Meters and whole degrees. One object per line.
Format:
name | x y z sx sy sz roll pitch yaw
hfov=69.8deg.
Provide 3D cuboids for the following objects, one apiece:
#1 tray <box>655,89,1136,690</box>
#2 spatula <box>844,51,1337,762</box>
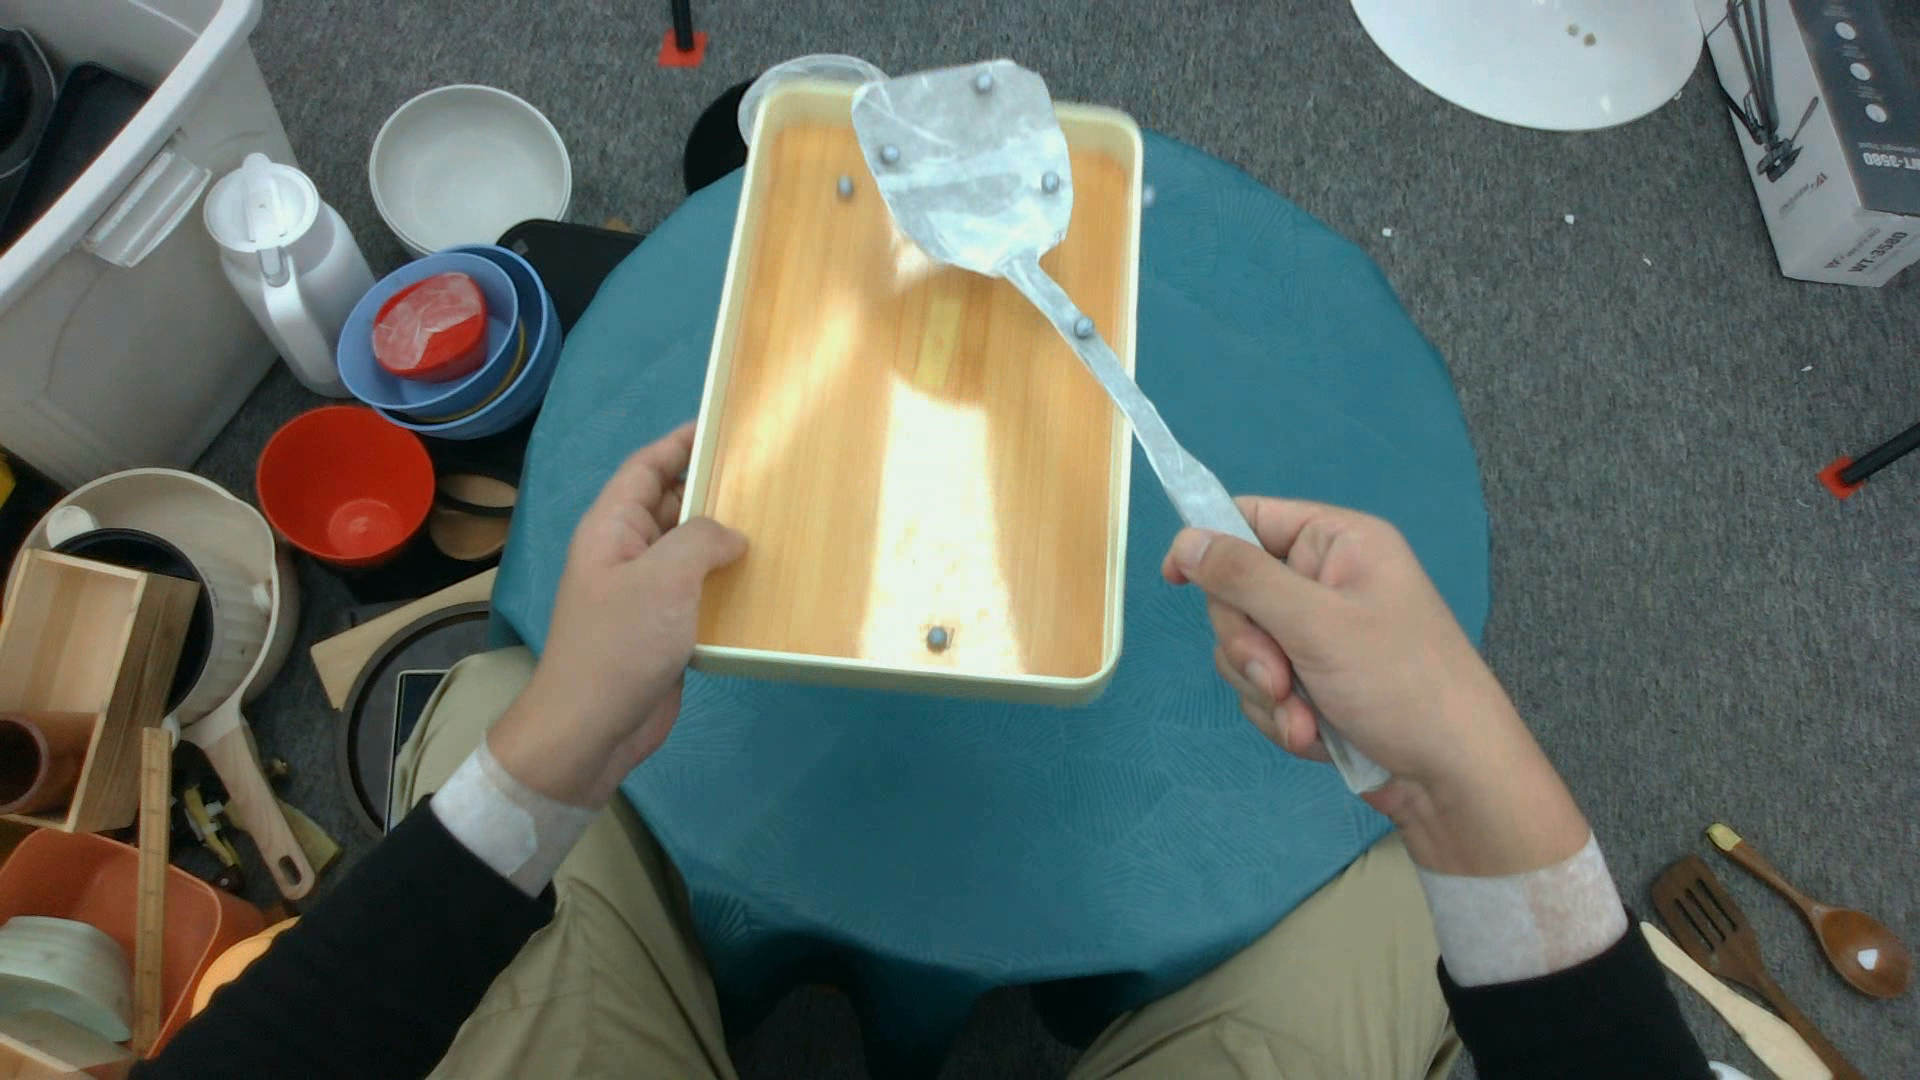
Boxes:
tray | -0.019 -0.082 0.634 0.191 0.027 0.301 6 62 0
spatula | 0.057 -0.075 0.548 0.099 0.044 0.366 -15 55 -21
